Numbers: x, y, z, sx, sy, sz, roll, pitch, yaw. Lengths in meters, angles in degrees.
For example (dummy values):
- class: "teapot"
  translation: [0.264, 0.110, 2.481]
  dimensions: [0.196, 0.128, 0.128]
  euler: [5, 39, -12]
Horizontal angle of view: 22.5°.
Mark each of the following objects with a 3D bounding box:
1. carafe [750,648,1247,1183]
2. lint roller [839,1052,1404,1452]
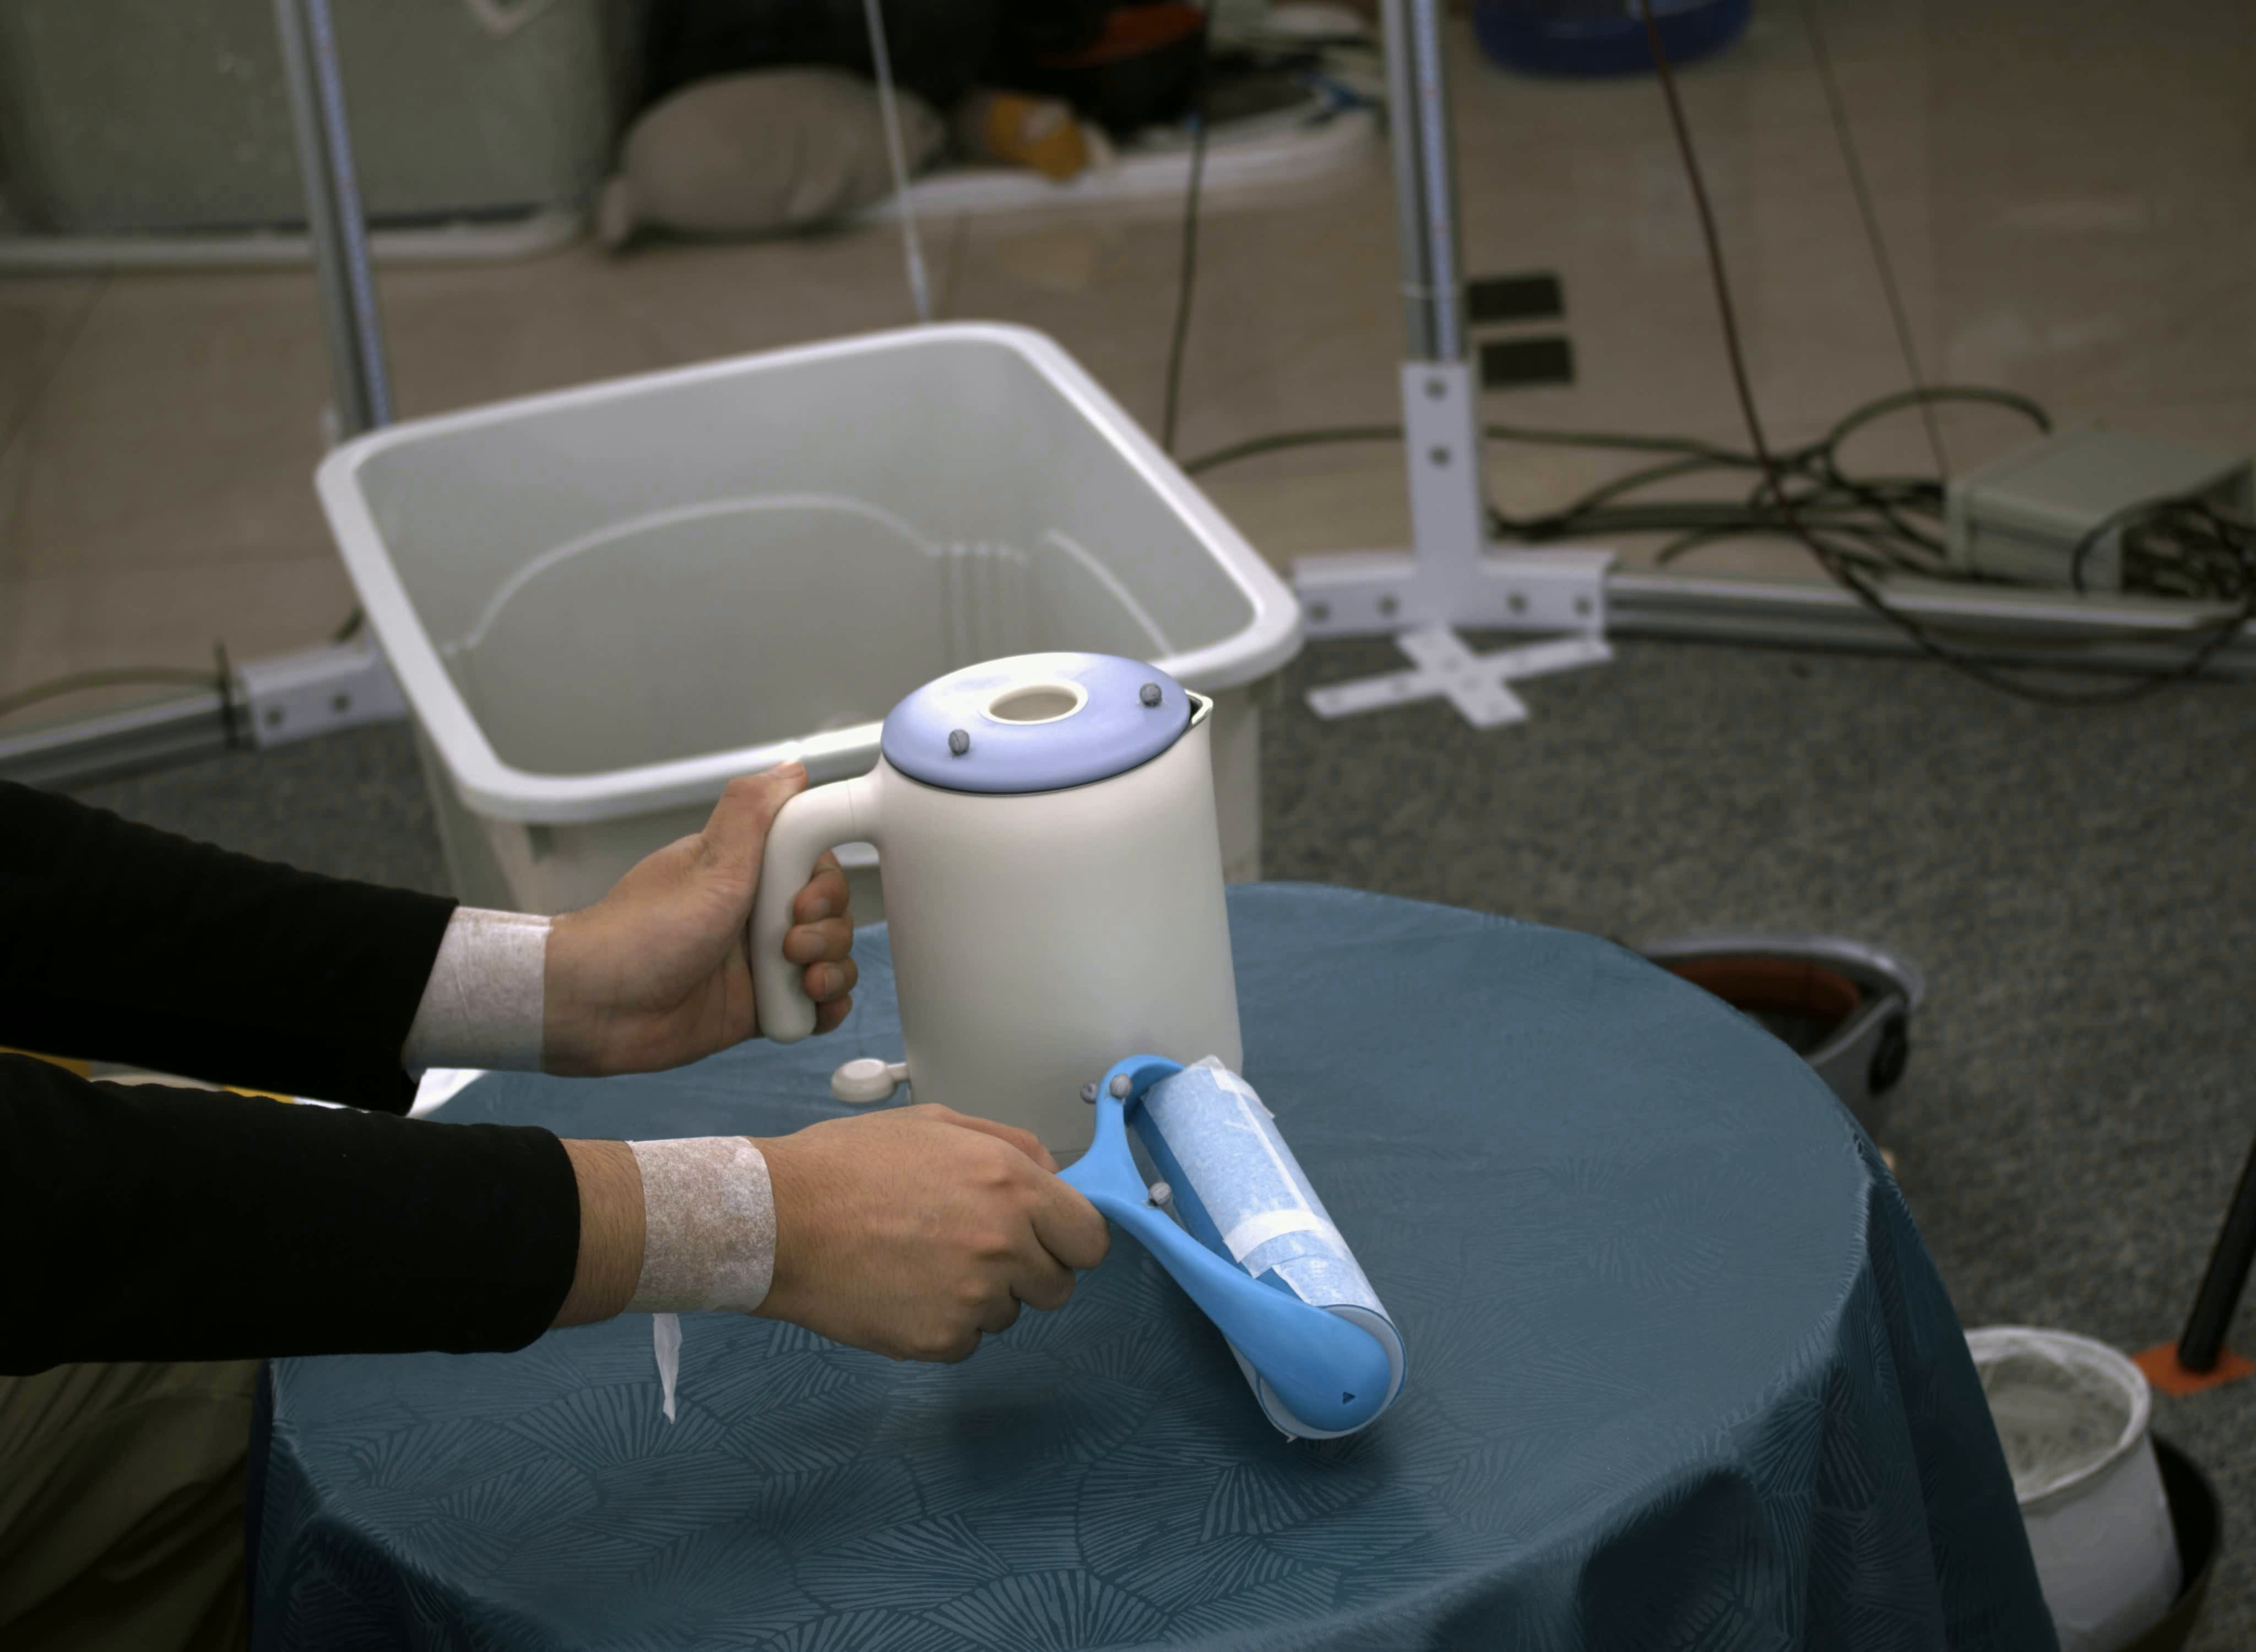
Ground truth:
- class: "carafe"
  translation: [-0.051, 0.038, 2.170]
  dimensions: [0.190, 0.185, 0.130]
  euler: [-11, 25, -5]
- class: "lint roller"
  translation: [-0.010, 0.150, 2.006]
  dimensions: [0.180, 0.069, 0.225]
  euler: [1, 26, -17]
